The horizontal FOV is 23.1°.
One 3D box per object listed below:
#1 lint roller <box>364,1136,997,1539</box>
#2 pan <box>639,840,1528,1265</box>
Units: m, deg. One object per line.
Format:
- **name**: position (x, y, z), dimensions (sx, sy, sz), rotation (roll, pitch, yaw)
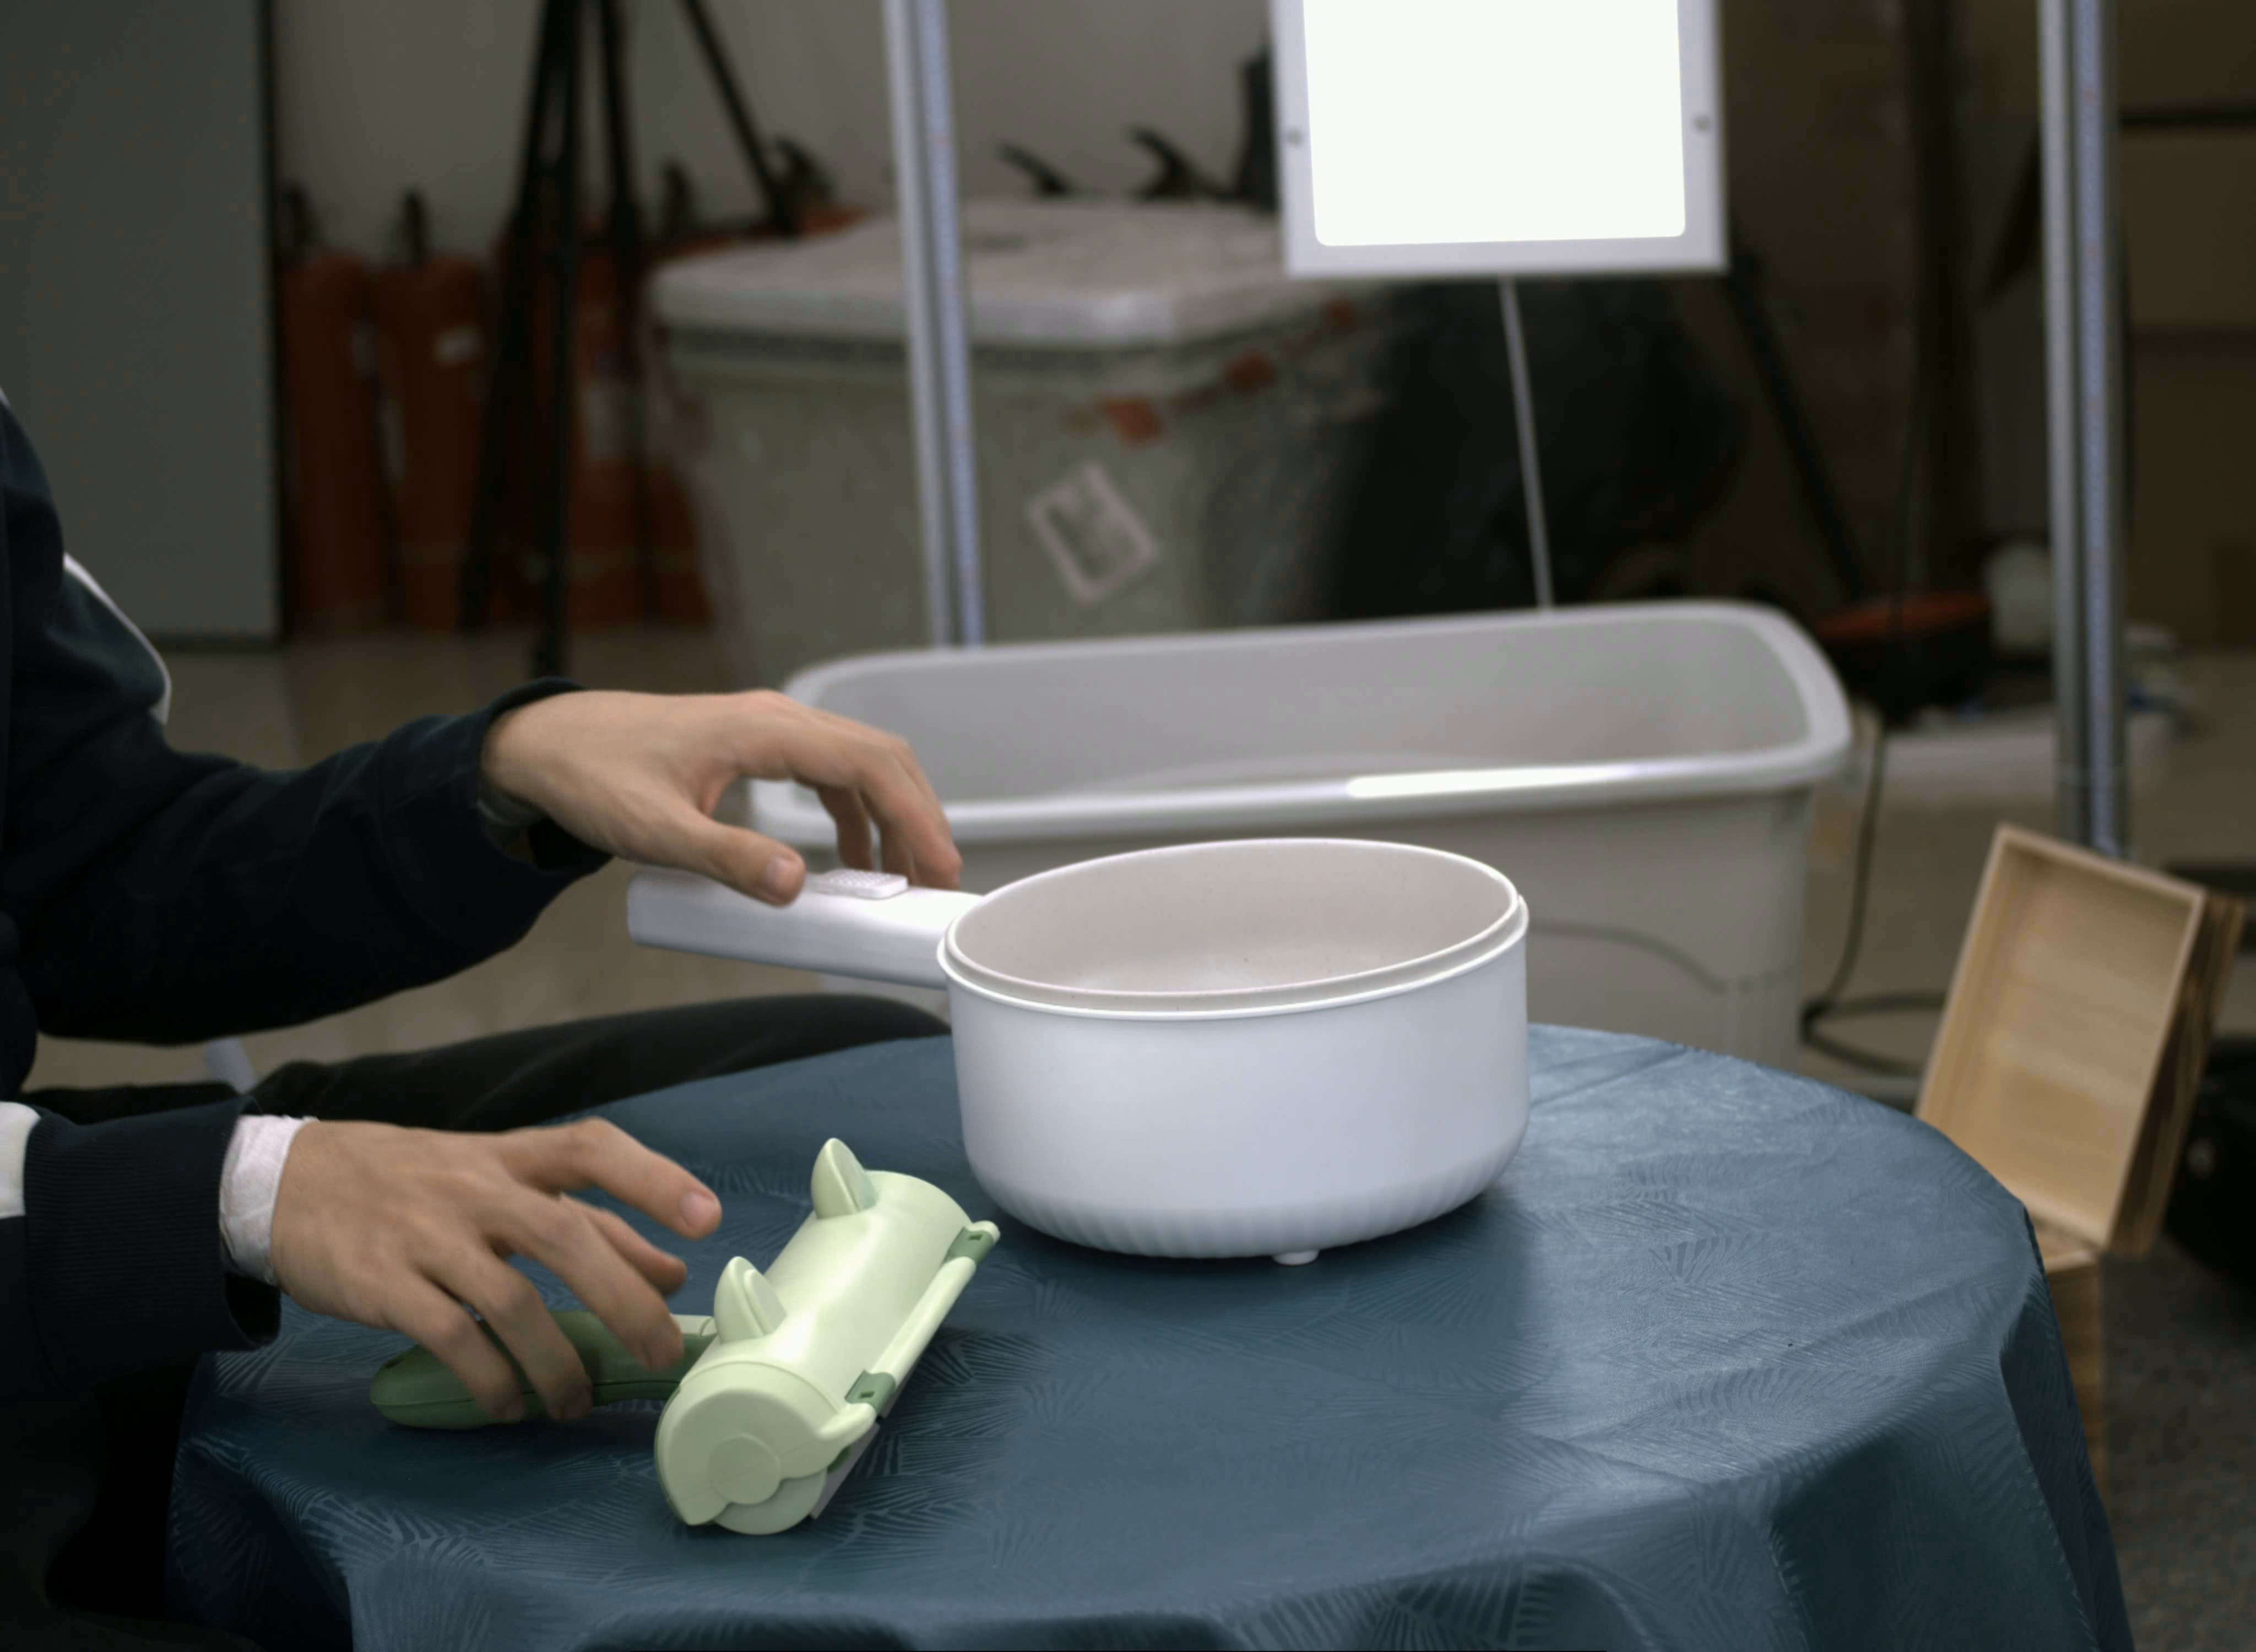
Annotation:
- **lint roller**: position (-0.148, 0.149, 1.699), dimensions (0.184, 0.082, 0.196), rotation (4, 16, 12)
- **pan**: position (-0.024, 0.072, 1.915), dimensions (0.362, 0.102, 0.196), rotation (5, 17, 37)
